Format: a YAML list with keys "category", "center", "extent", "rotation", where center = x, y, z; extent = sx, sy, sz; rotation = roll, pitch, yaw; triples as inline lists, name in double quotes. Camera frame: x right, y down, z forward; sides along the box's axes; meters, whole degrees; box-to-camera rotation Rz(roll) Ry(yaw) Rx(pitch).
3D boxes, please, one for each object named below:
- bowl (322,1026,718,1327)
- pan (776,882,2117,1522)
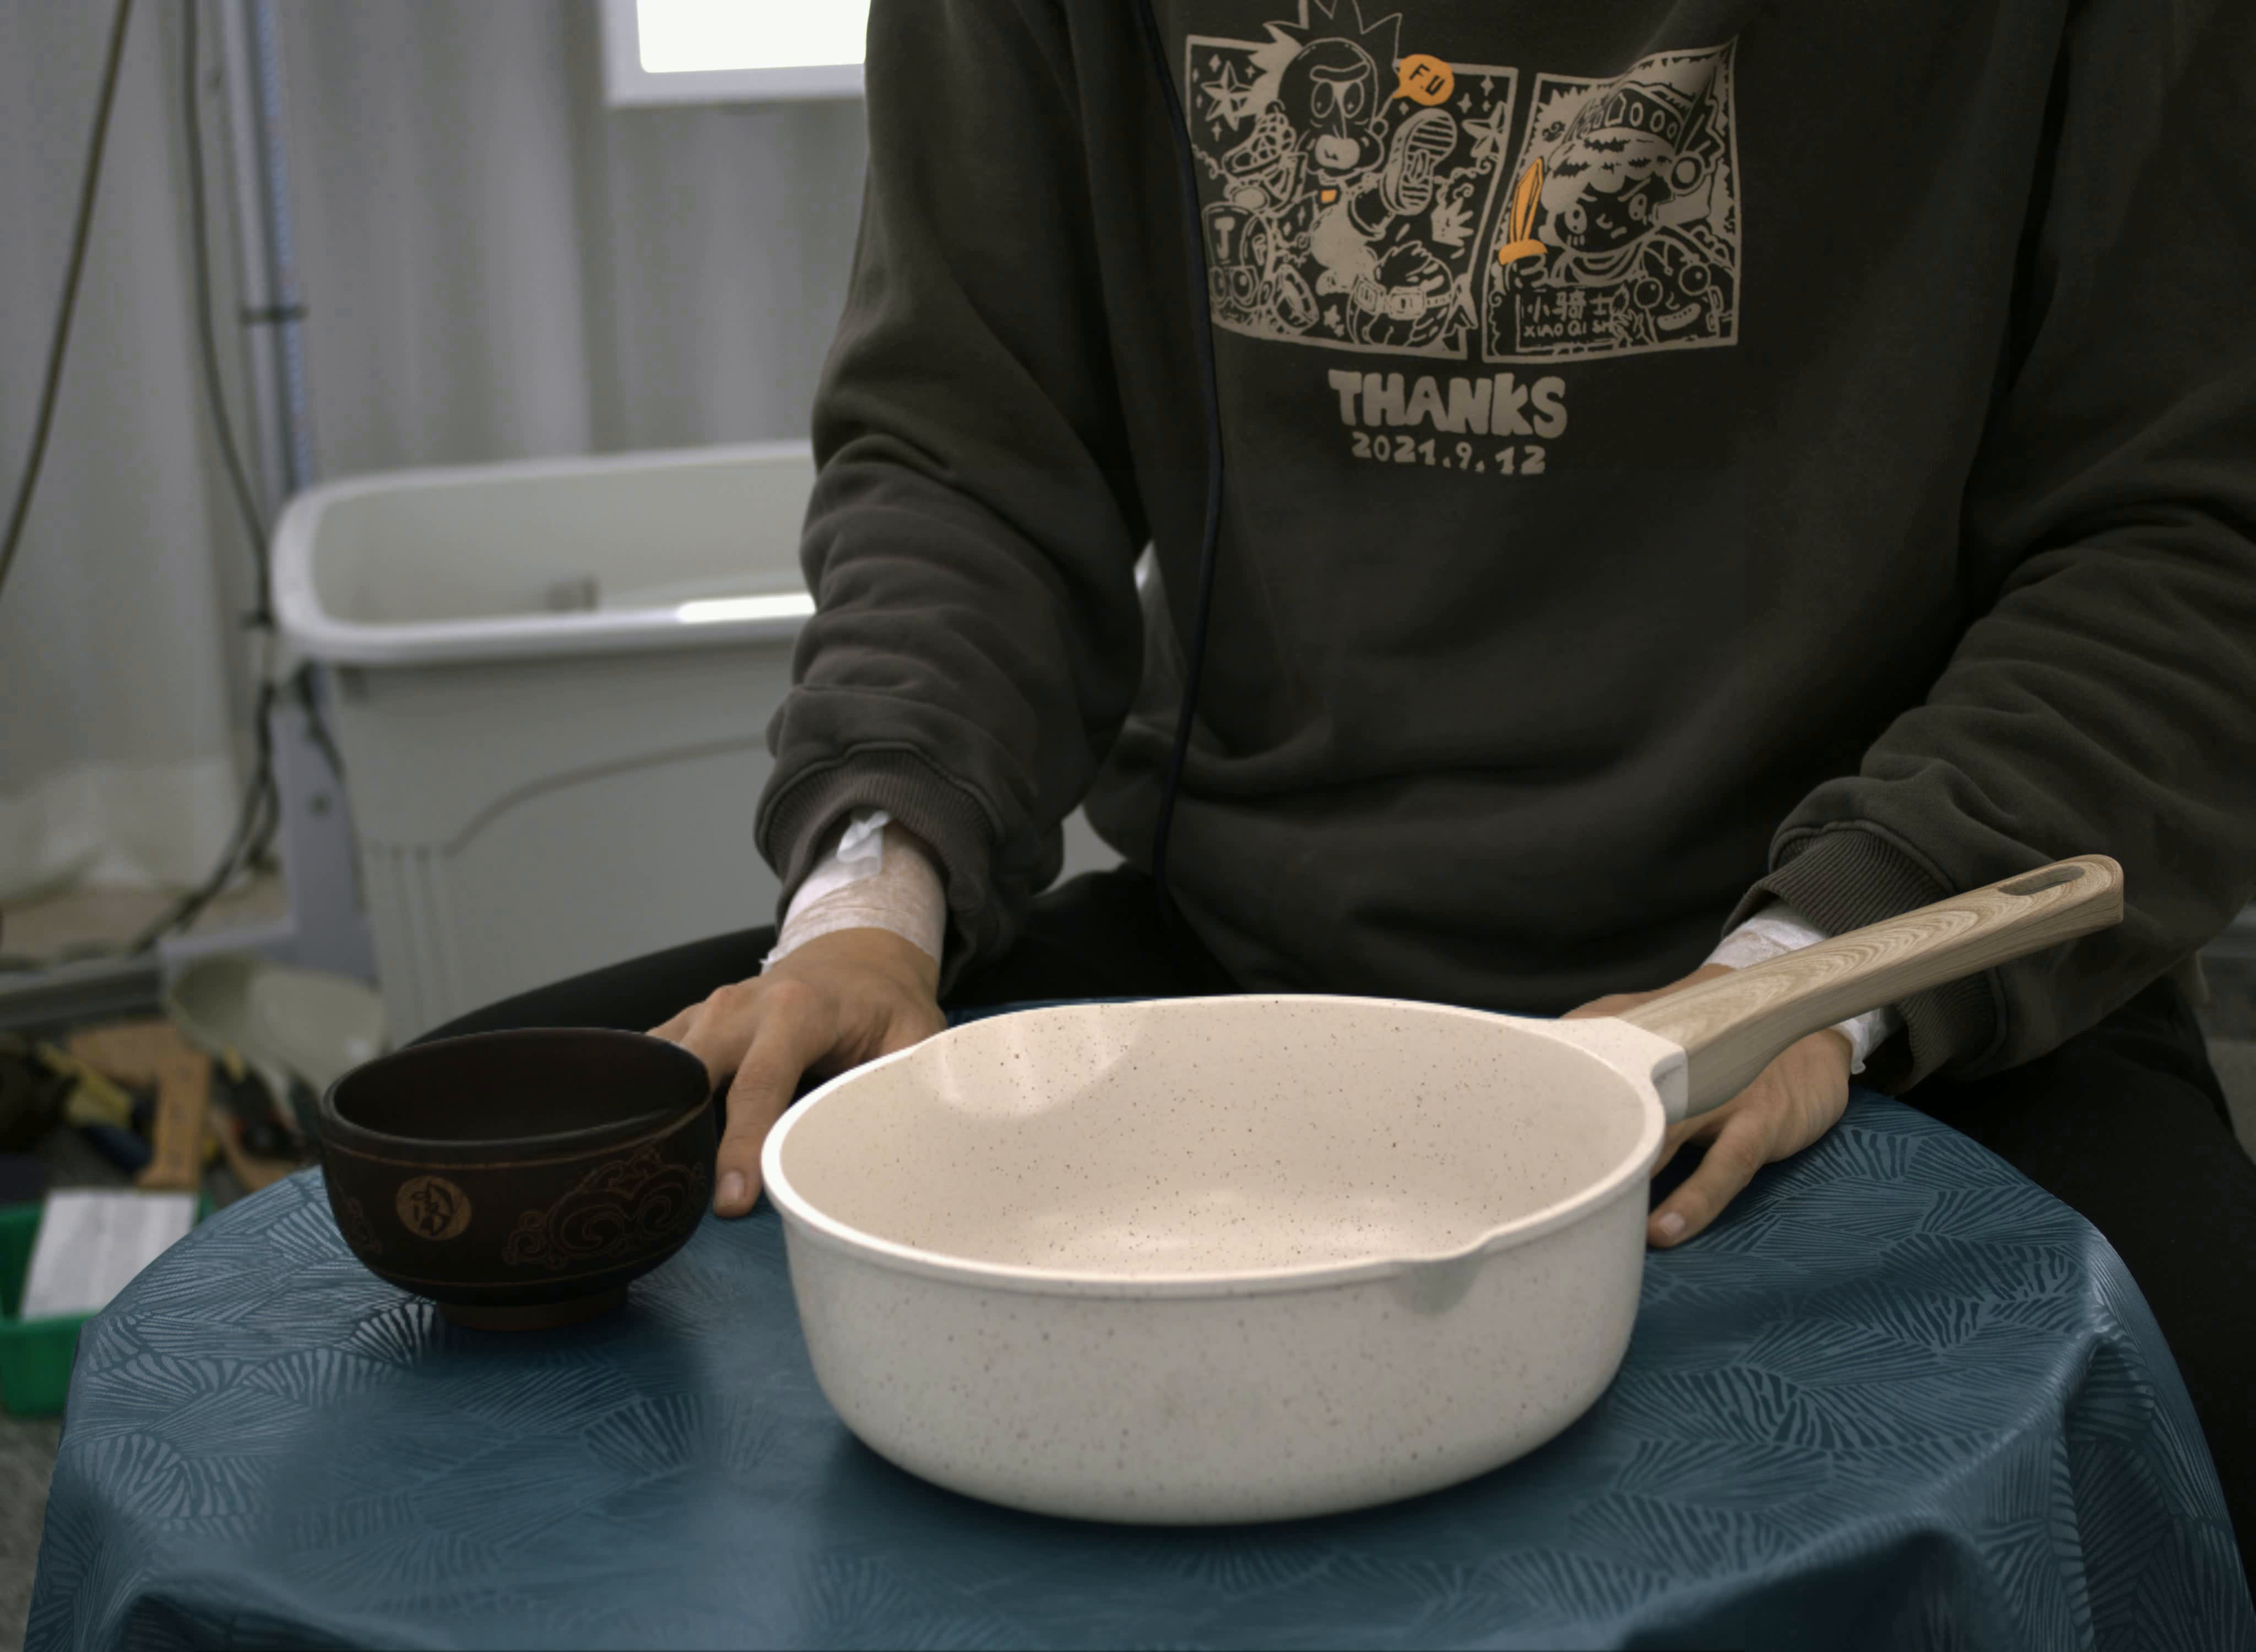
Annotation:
- category: "bowl"
  center: [-0.181, 0.109, 1.643]
  extent: [0.117, 0.069, 0.119]
  rotation: [-3, 13, 0]
- category: "pan"
  center: [0.109, 0.101, 1.564]
  extent: [0.433, 0.101, 0.265]
  rotation: [-10, 15, -27]
